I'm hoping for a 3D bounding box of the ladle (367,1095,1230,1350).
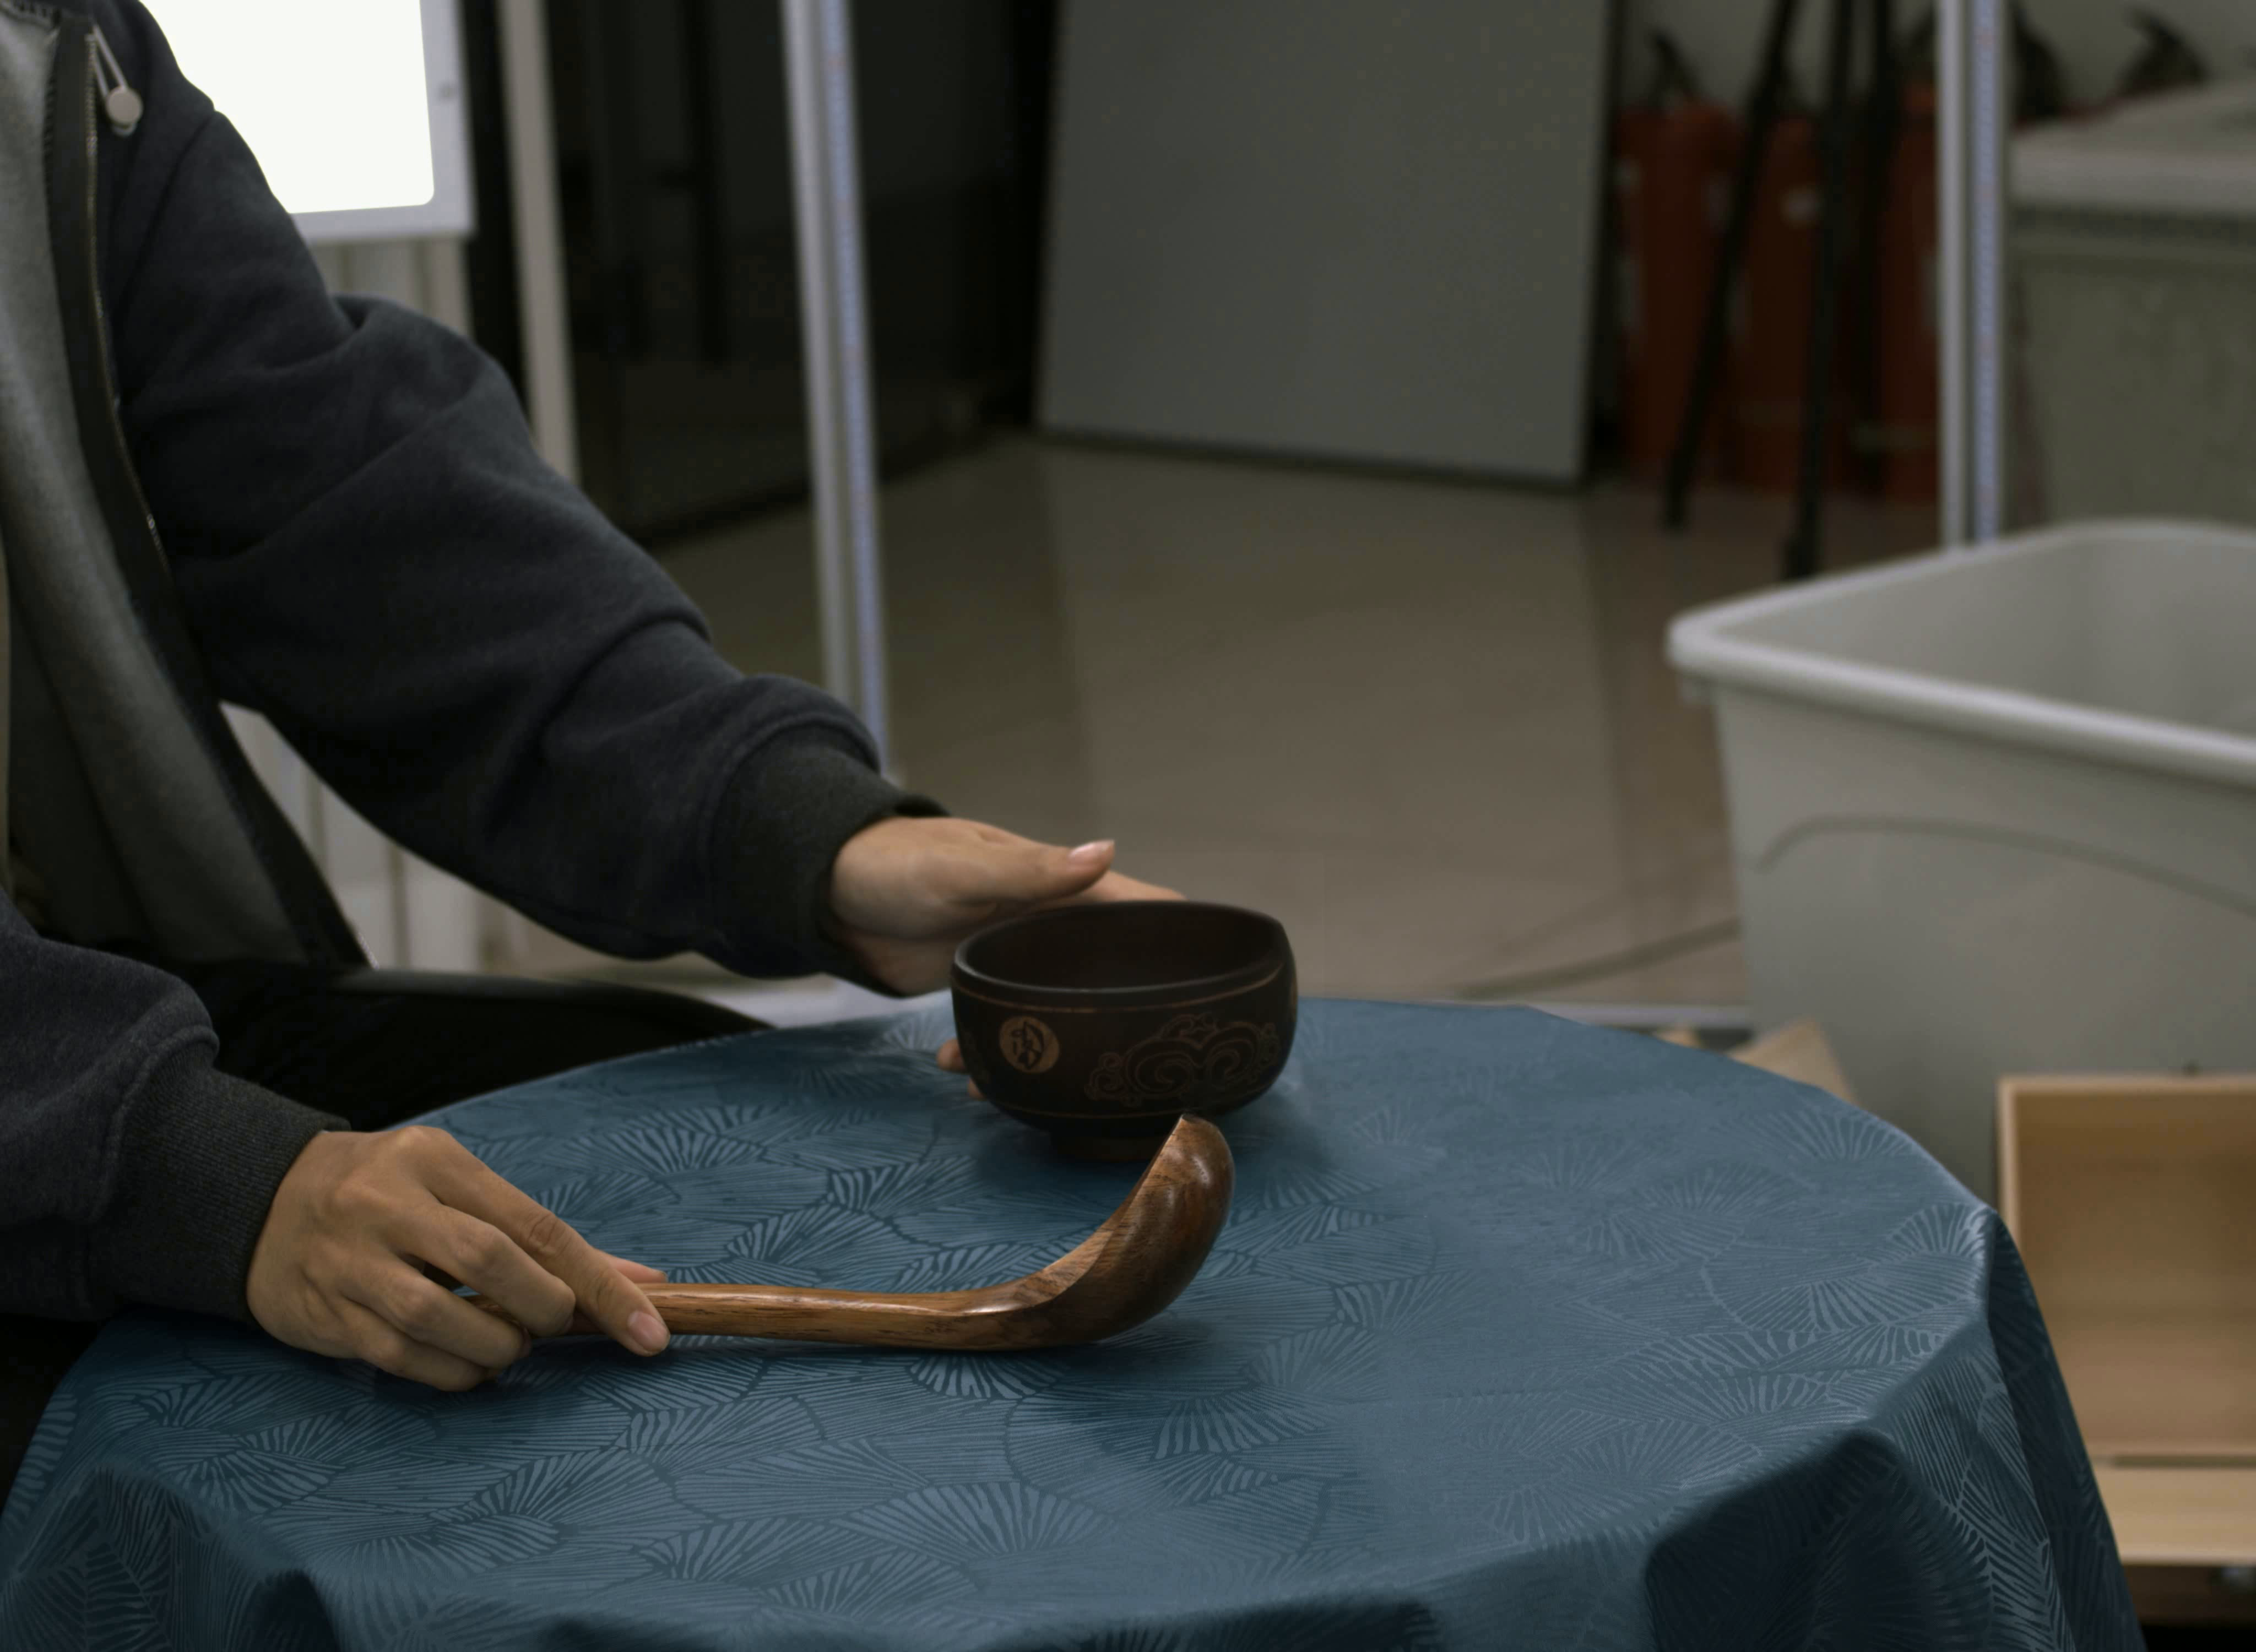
[{"bbox_3d":[-0.102,0.121,1.632,0.272,0.077,0.081,-1,8,13],"label":"ladle"}]

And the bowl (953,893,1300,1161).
[{"bbox_3d":[0.001,0.071,1.817,0.116,0.070,0.118,-4,14,0],"label":"bowl"}]
